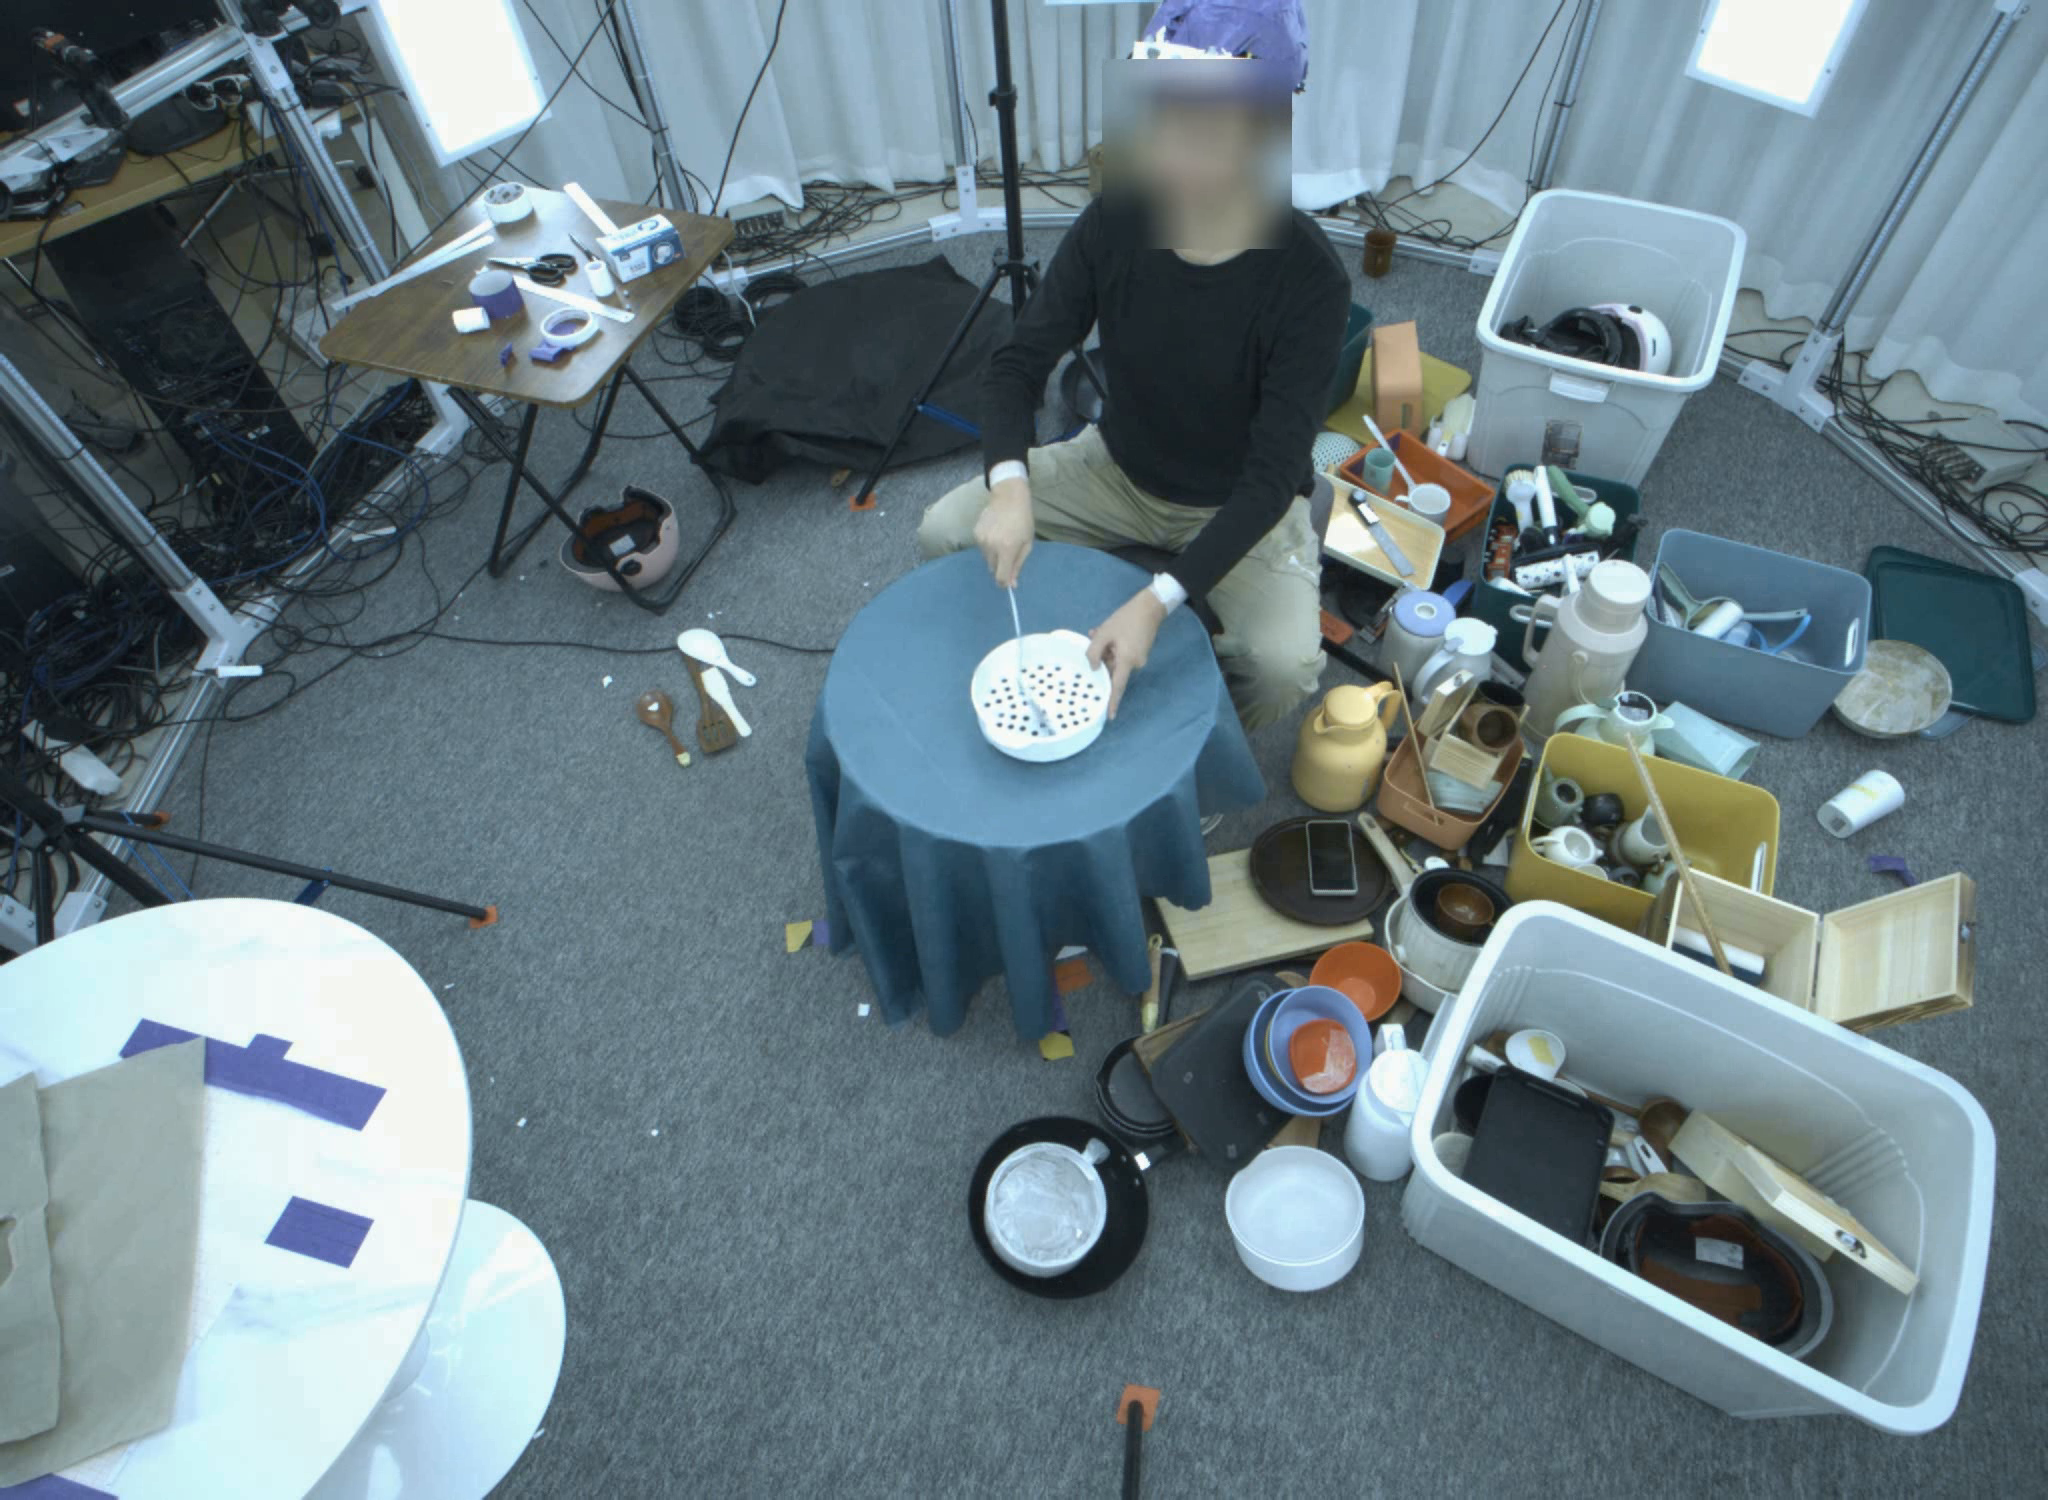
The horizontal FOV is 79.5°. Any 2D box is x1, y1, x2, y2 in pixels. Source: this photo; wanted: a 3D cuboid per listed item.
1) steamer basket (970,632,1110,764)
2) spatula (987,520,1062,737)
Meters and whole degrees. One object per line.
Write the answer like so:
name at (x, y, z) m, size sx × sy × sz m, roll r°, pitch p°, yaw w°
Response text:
steamer basket at (0.024, -0.071, 1.794) m, size 0.199 × 0.070 × 0.231 m, roll 23°, pitch 58°, yaw 16°
spatula at (-0.005, -0.185, 1.792) m, size 0.044 × 0.100 × 0.362 m, roll -13°, pitch 75°, yaw 9°
